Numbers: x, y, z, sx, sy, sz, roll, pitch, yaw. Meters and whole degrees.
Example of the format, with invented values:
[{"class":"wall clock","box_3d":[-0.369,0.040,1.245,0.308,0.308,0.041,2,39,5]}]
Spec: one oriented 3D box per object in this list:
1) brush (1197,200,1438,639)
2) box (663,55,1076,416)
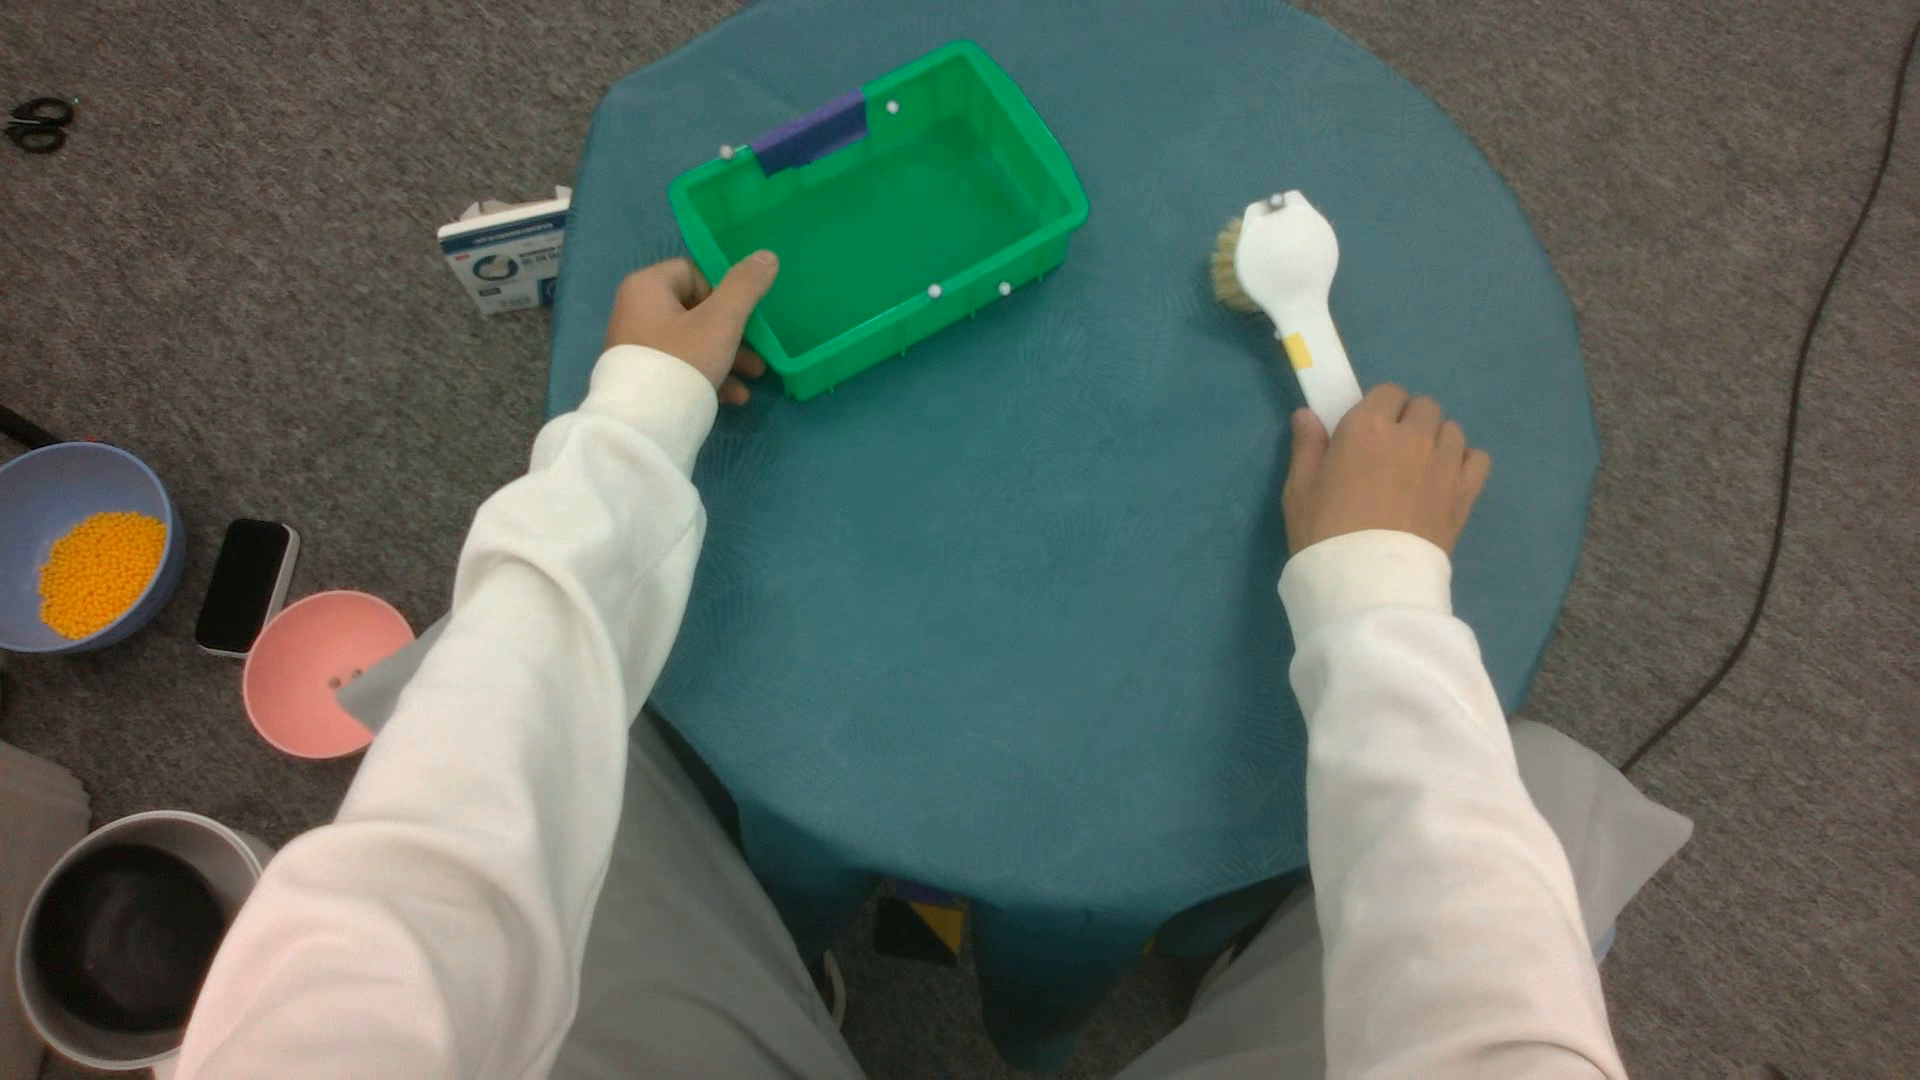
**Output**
[{"class":"brush","box_3d":[0.208,-0.070,0.791,0.068,0.056,0.266,-21,87,5]},{"class":"box","box_3d":[-0.050,-0.172,0.800,0.211,0.065,0.139,-33,74,-9]}]
